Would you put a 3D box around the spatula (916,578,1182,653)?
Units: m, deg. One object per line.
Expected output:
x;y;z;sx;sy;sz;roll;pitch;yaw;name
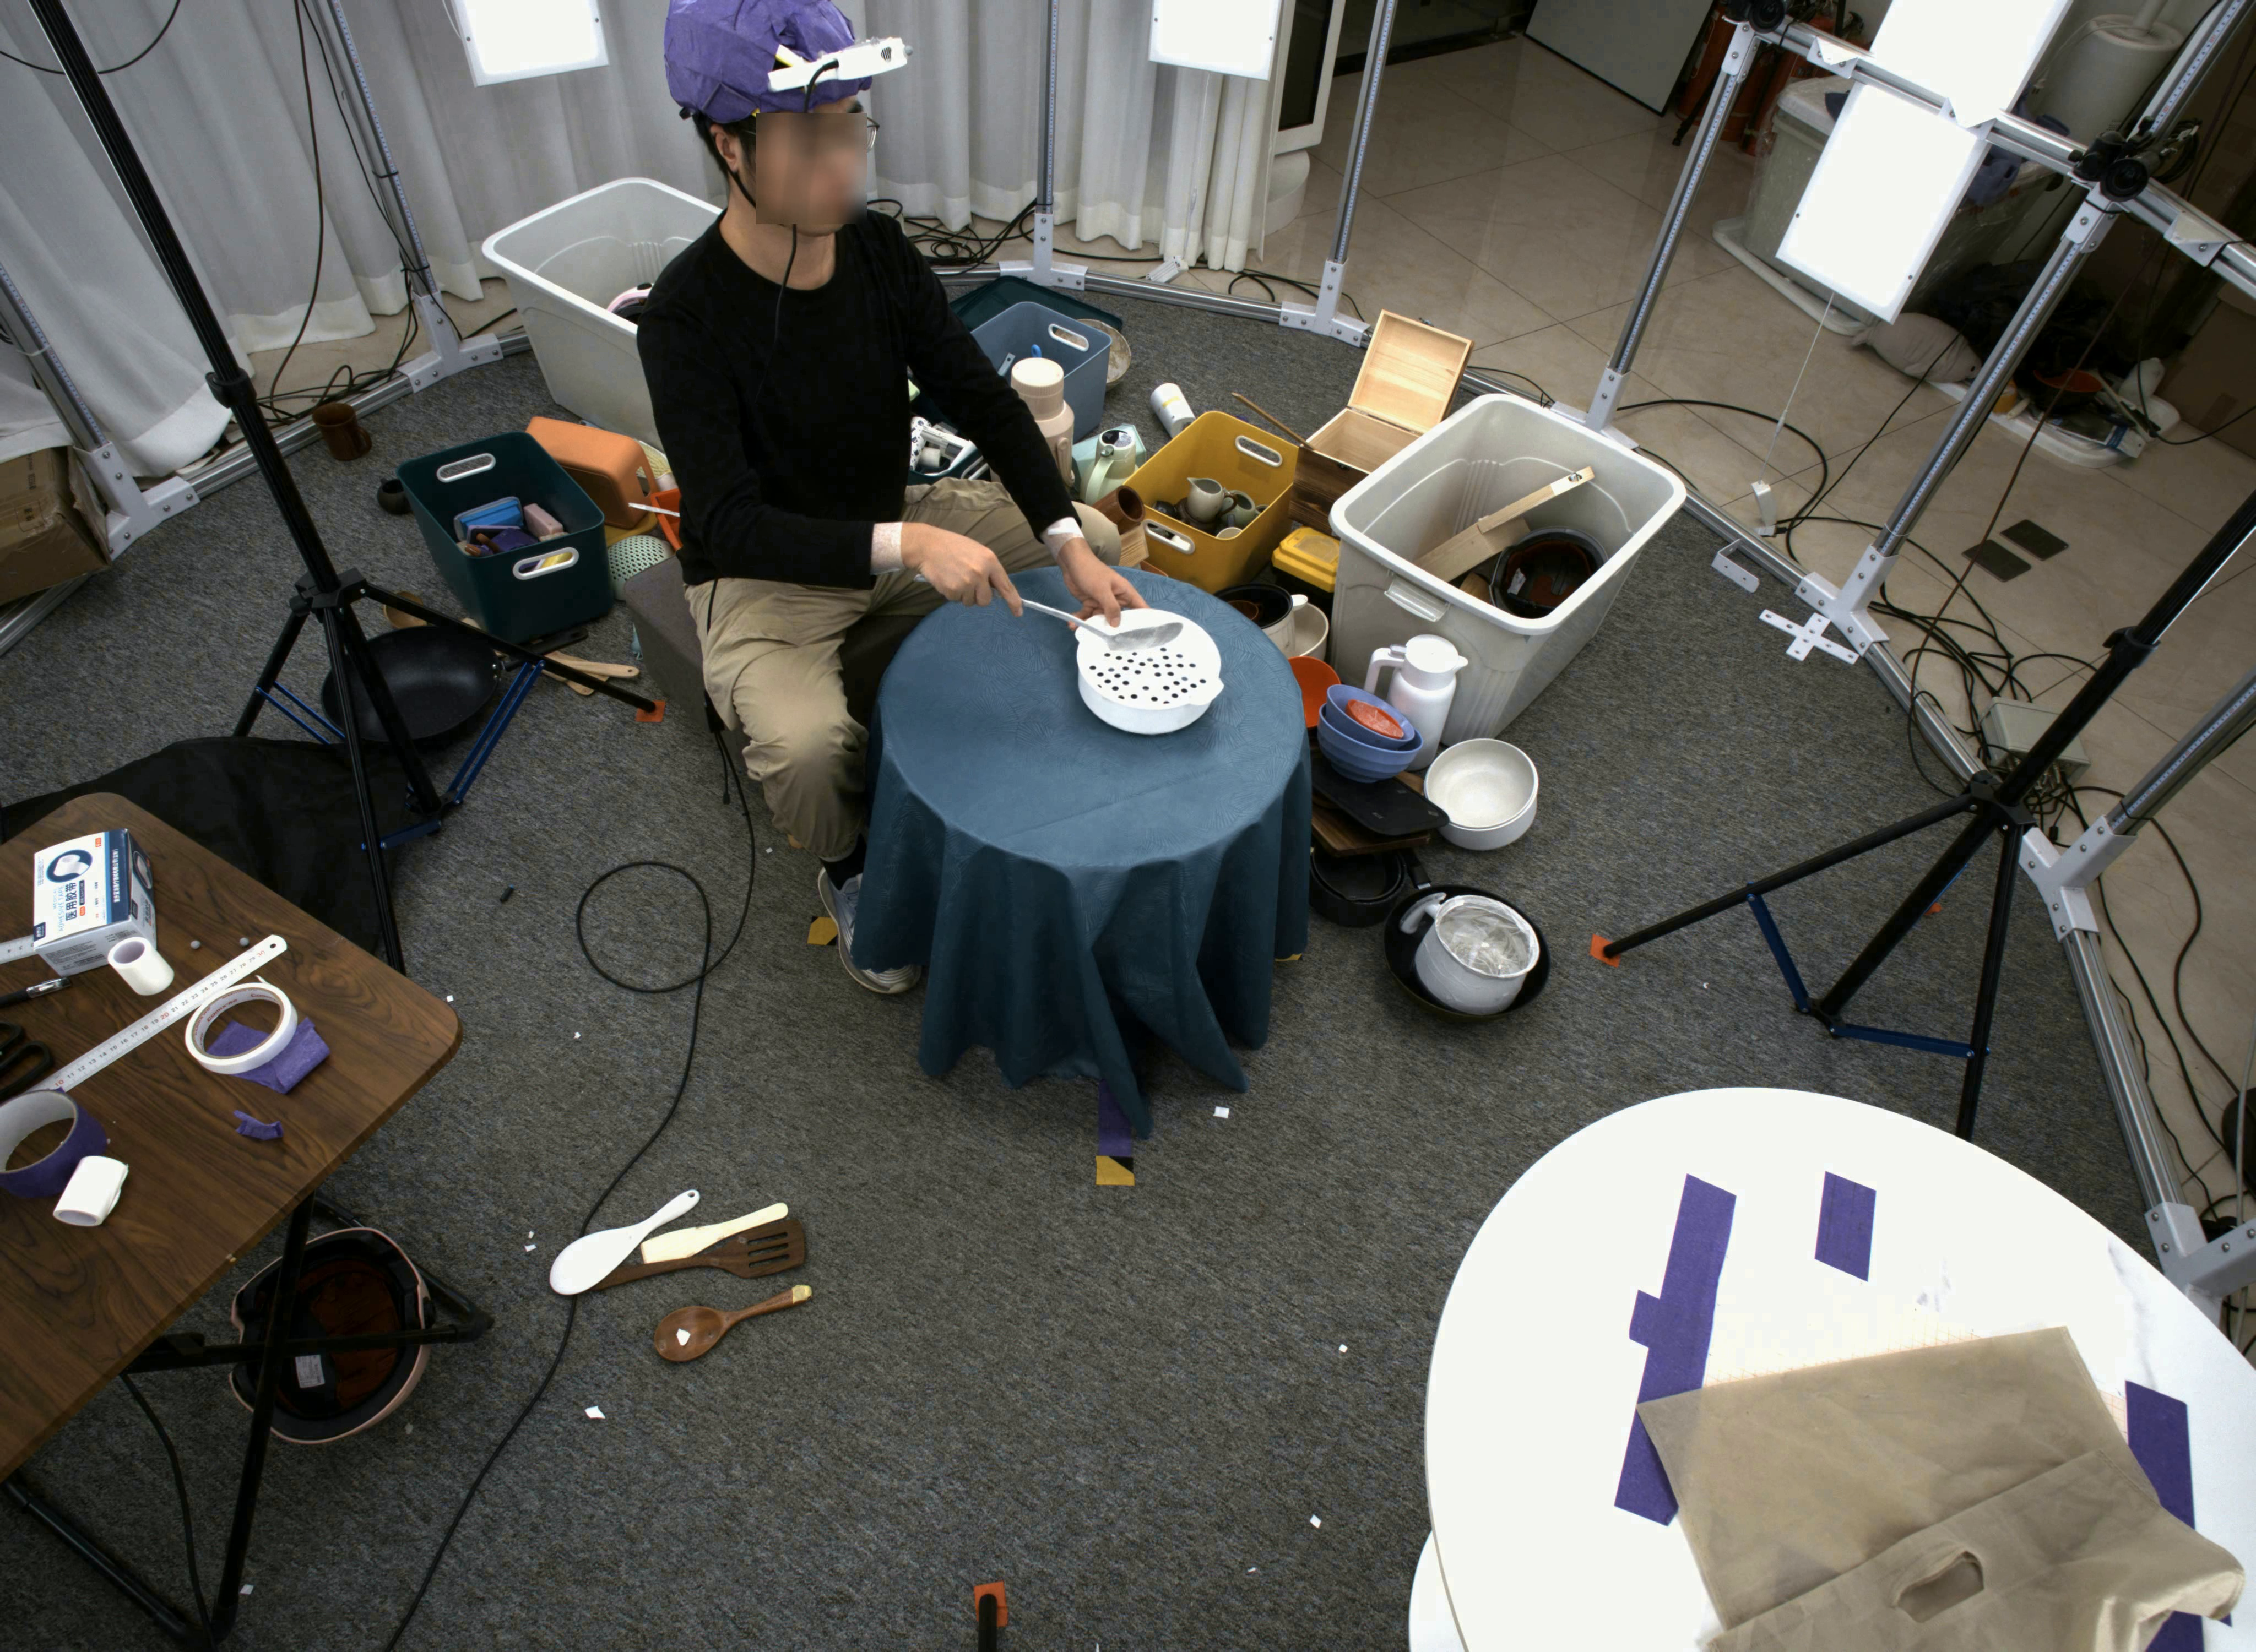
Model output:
-0.102;-0.290;1.730;0.362;0.098;0.045;16;72;-18;spatula

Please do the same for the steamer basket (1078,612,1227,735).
0.031;-0.215;1.813;0.233;0.067;0.204;31;53;22;steamer basket
